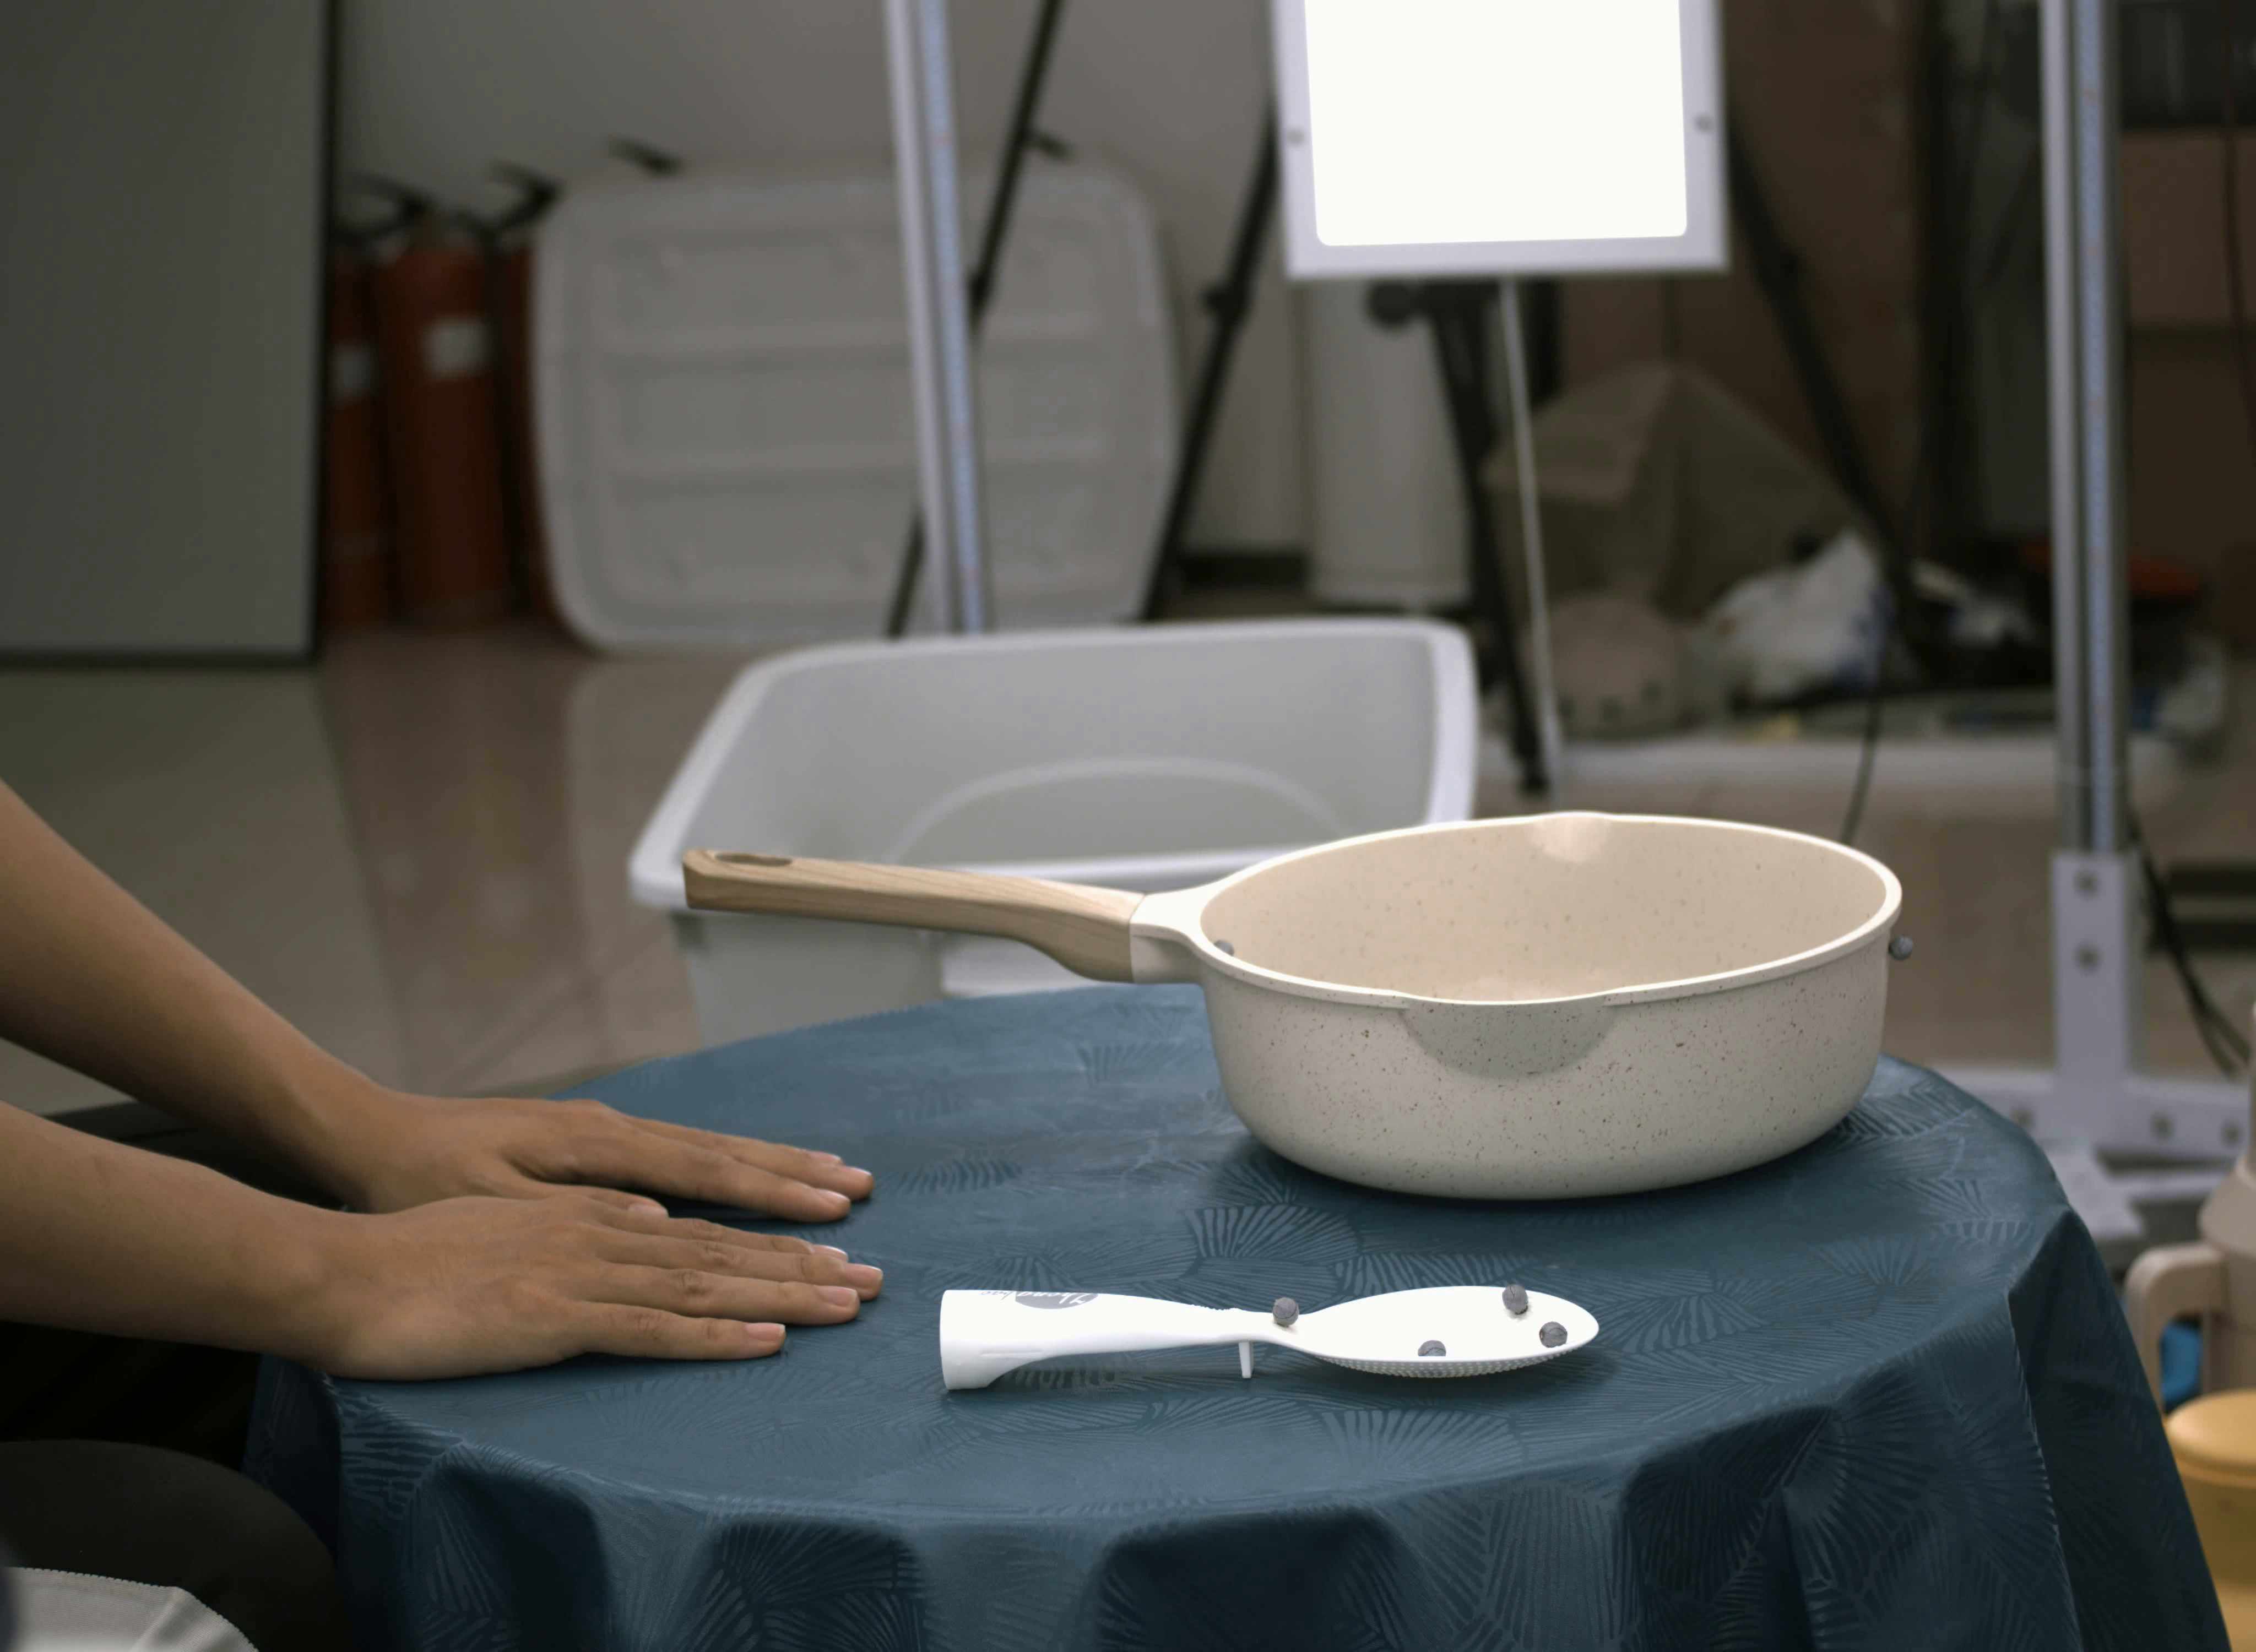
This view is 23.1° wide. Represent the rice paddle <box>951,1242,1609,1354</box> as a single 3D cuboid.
[{"bbox_3d":[0.048,0.144,1.714,0.206,0.029,0.068,-3,15,8],"label":"rice paddle"}]

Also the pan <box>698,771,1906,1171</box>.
[{"bbox_3d":[0.062,0.050,1.968,0.438,0.102,0.260,-3,16,12],"label":"pan"}]
